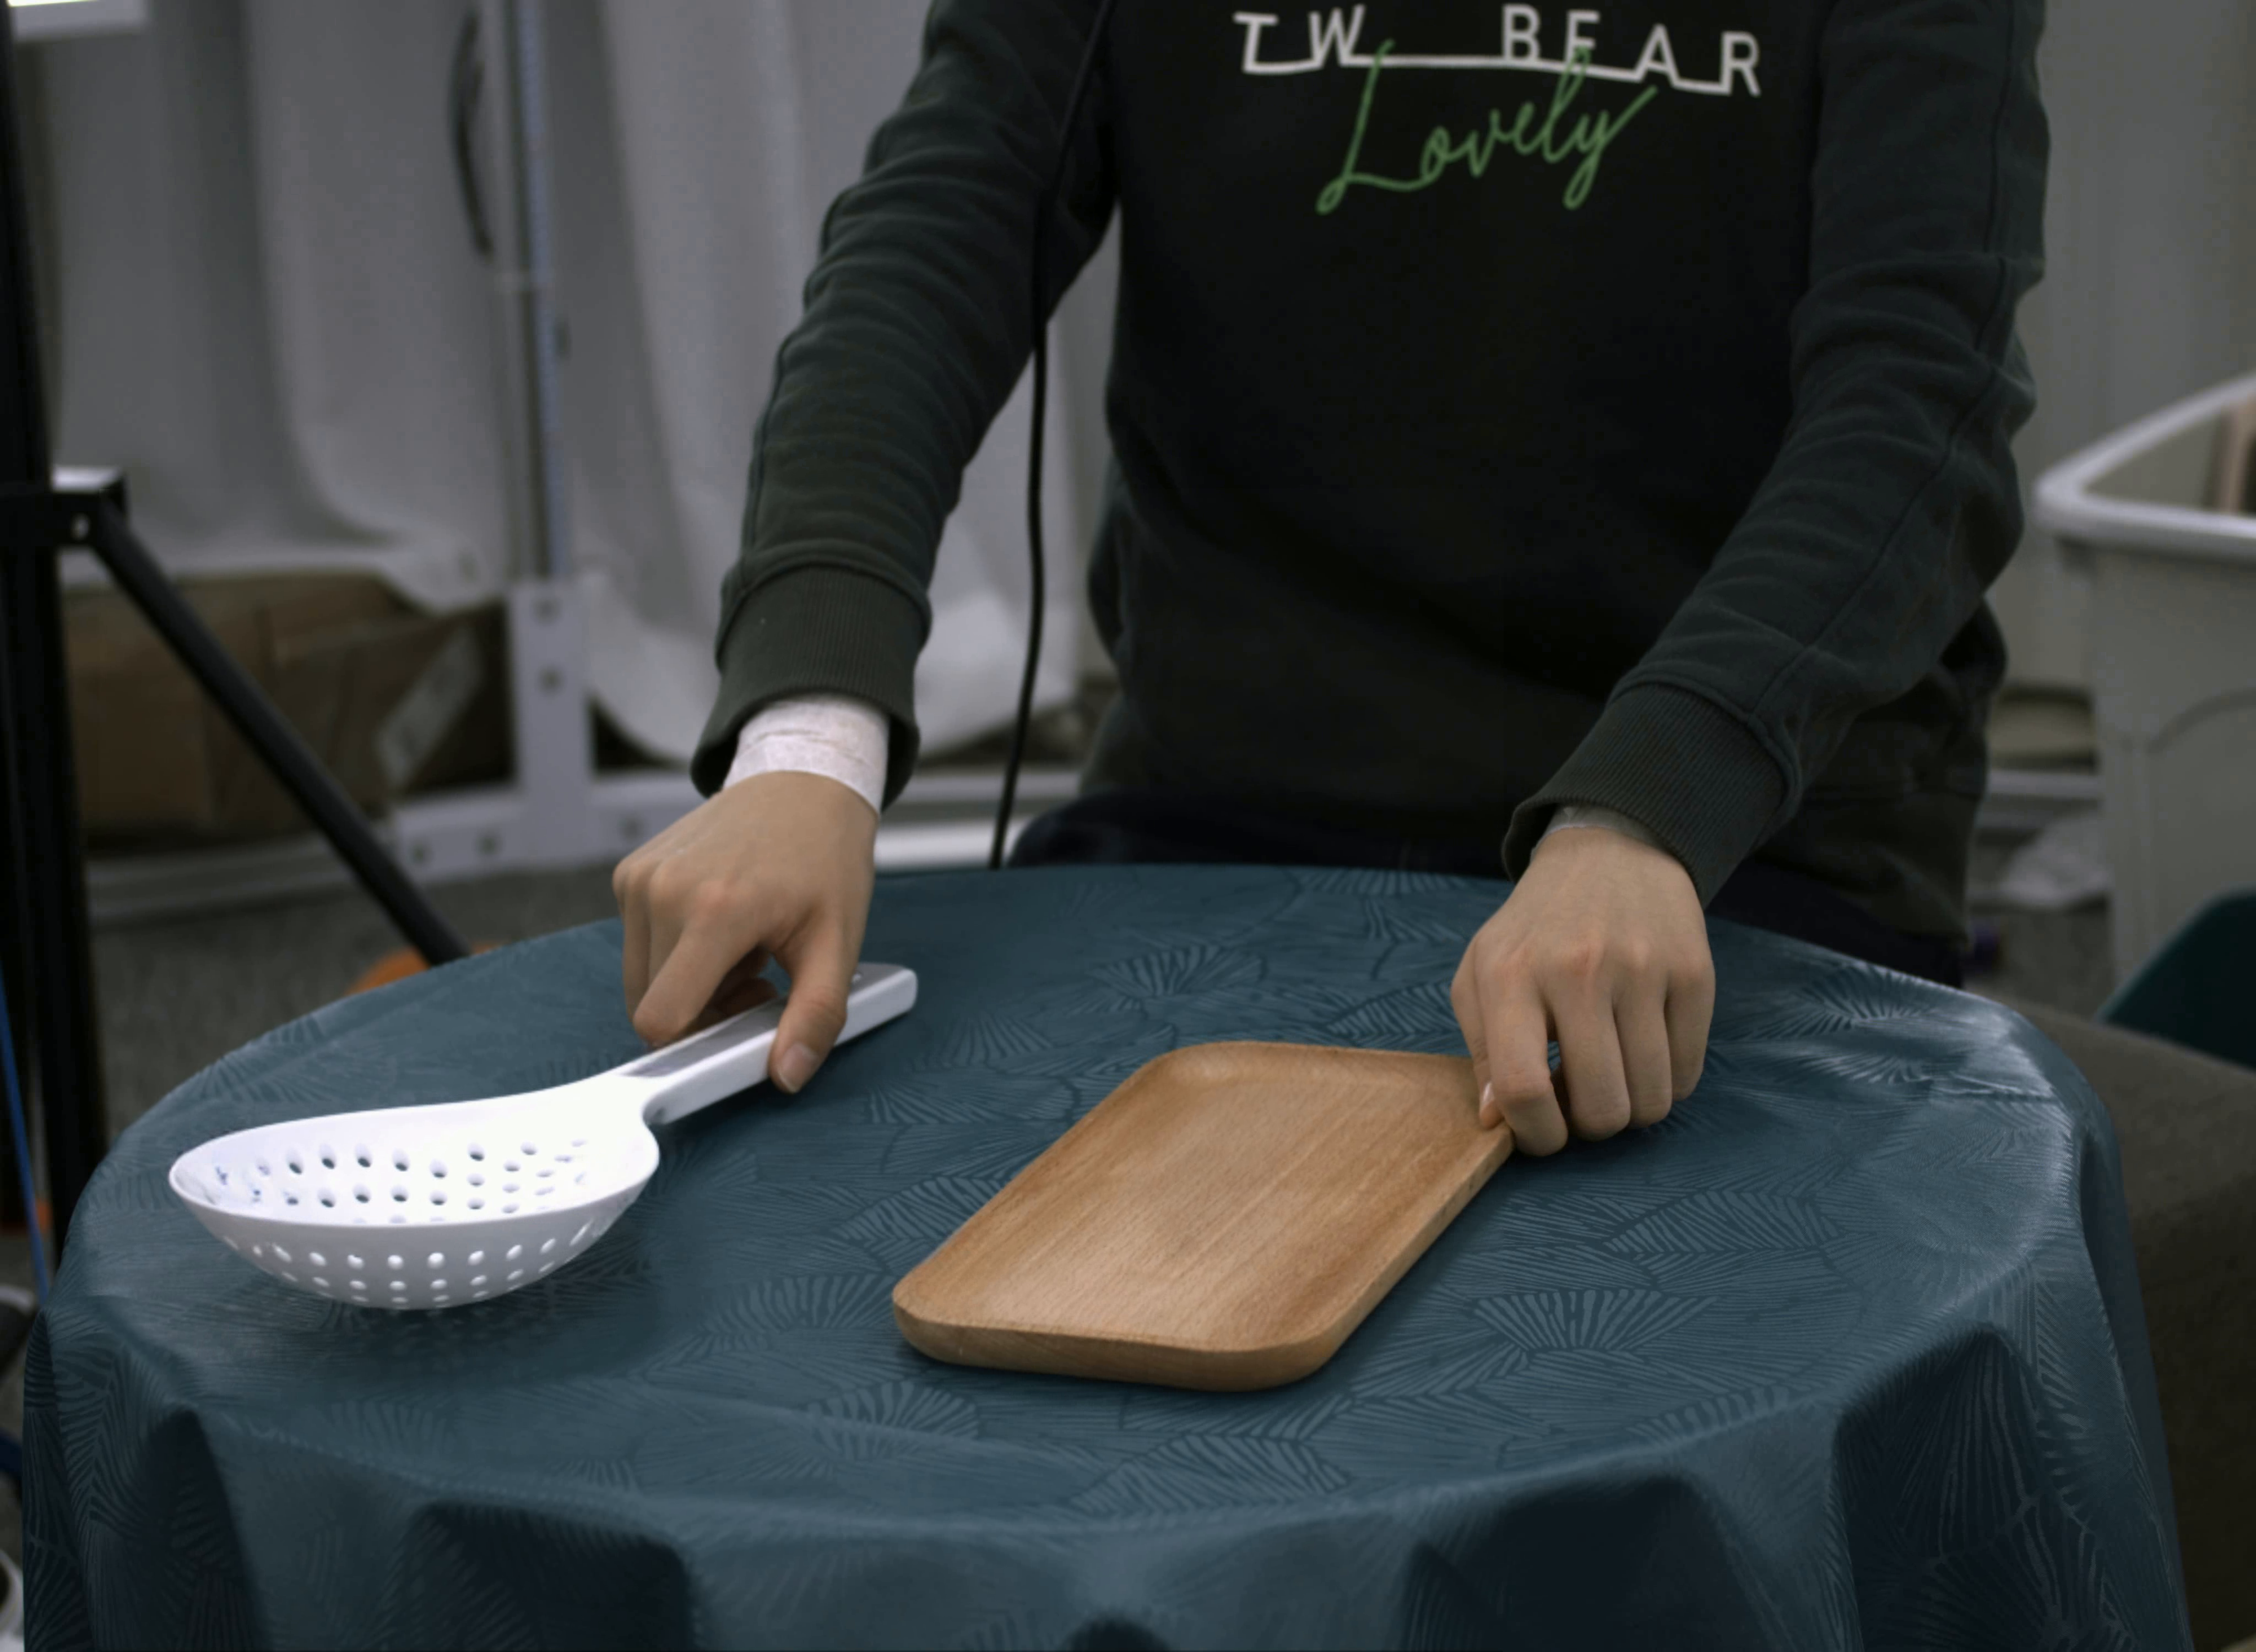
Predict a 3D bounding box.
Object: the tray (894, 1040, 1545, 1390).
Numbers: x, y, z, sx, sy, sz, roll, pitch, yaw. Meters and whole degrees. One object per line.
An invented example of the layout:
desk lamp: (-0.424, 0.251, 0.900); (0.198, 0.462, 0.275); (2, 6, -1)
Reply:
tray: (0.031, 0.108, 1.520); (0.132, 0.023, 0.247); (5, 17, 21)

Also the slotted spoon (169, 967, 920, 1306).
slotted spoon: (-0.153, 0.083, 1.589); (0.138, 0.046, 0.344); (6, 17, 25)
